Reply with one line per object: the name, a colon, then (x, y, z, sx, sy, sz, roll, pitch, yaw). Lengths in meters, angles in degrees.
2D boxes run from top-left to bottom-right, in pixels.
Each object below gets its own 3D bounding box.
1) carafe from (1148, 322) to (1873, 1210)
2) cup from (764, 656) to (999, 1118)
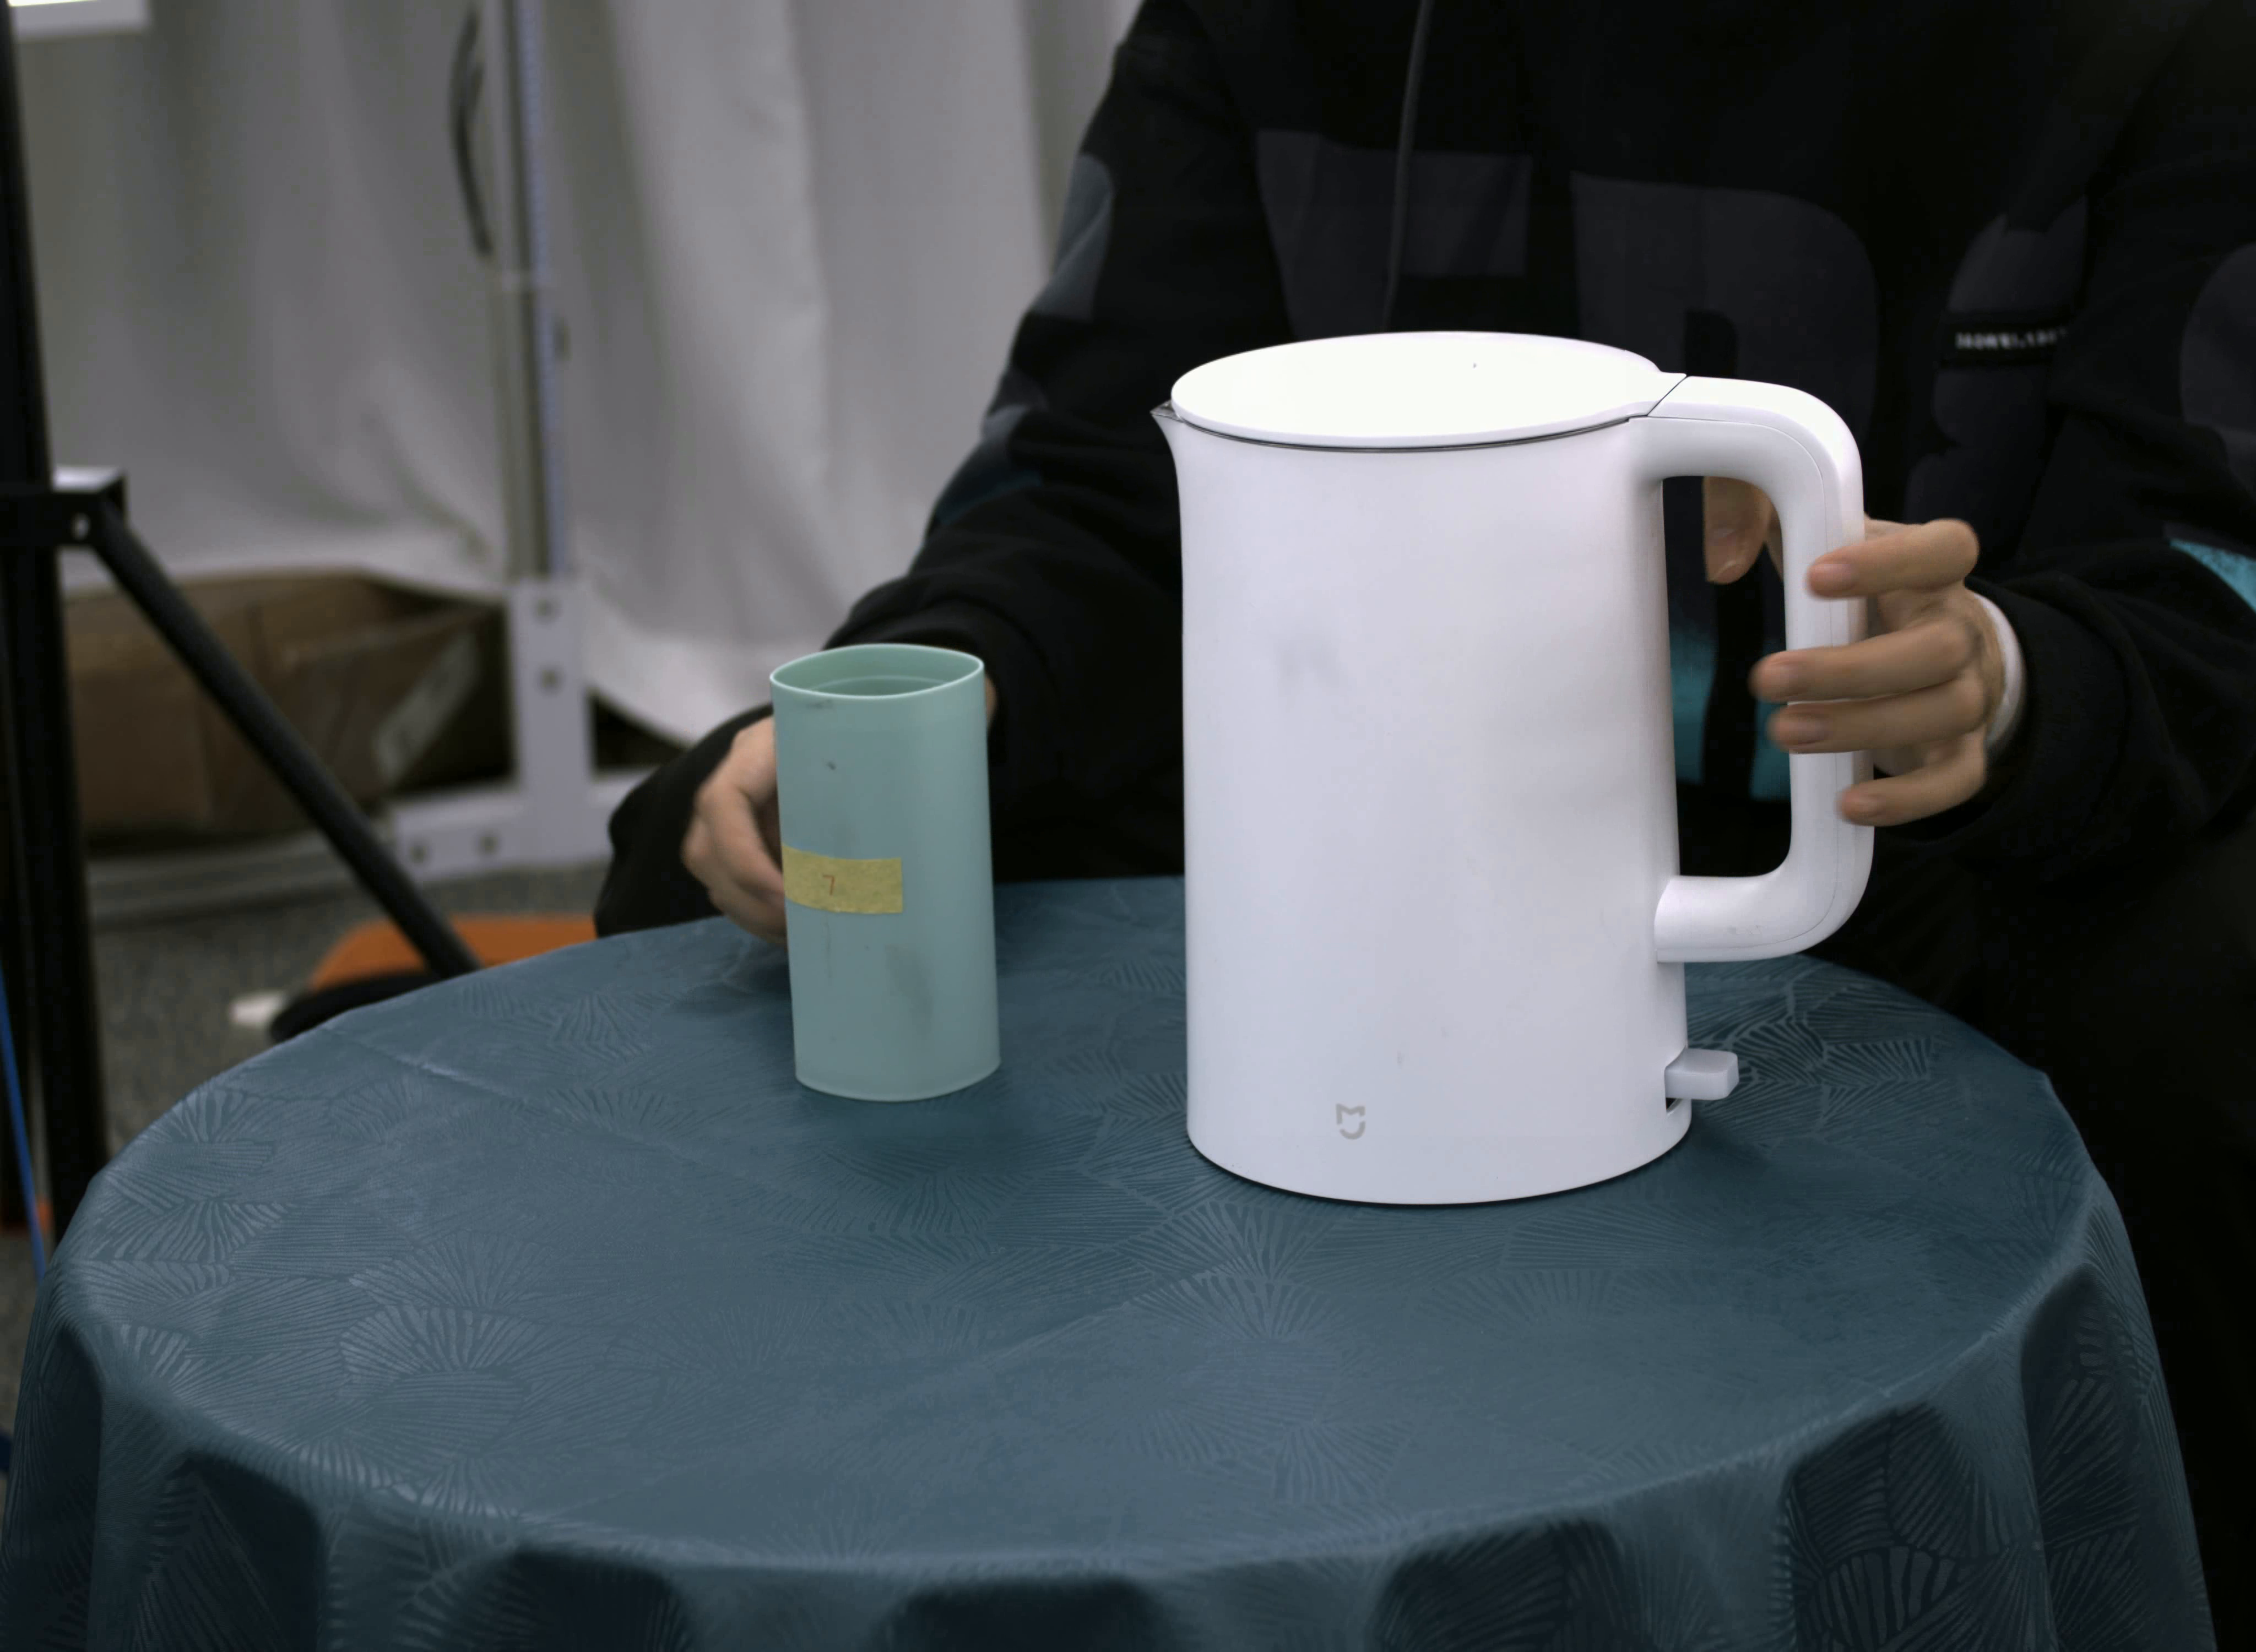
carafe: (0.112, -0.018, 1.560, 0.216, 0.240, 0.150, 3, 17, 22)
cup: (-0.075, 0.018, 1.662, 0.066, 0.132, 0.067, -4, 15, 0)
